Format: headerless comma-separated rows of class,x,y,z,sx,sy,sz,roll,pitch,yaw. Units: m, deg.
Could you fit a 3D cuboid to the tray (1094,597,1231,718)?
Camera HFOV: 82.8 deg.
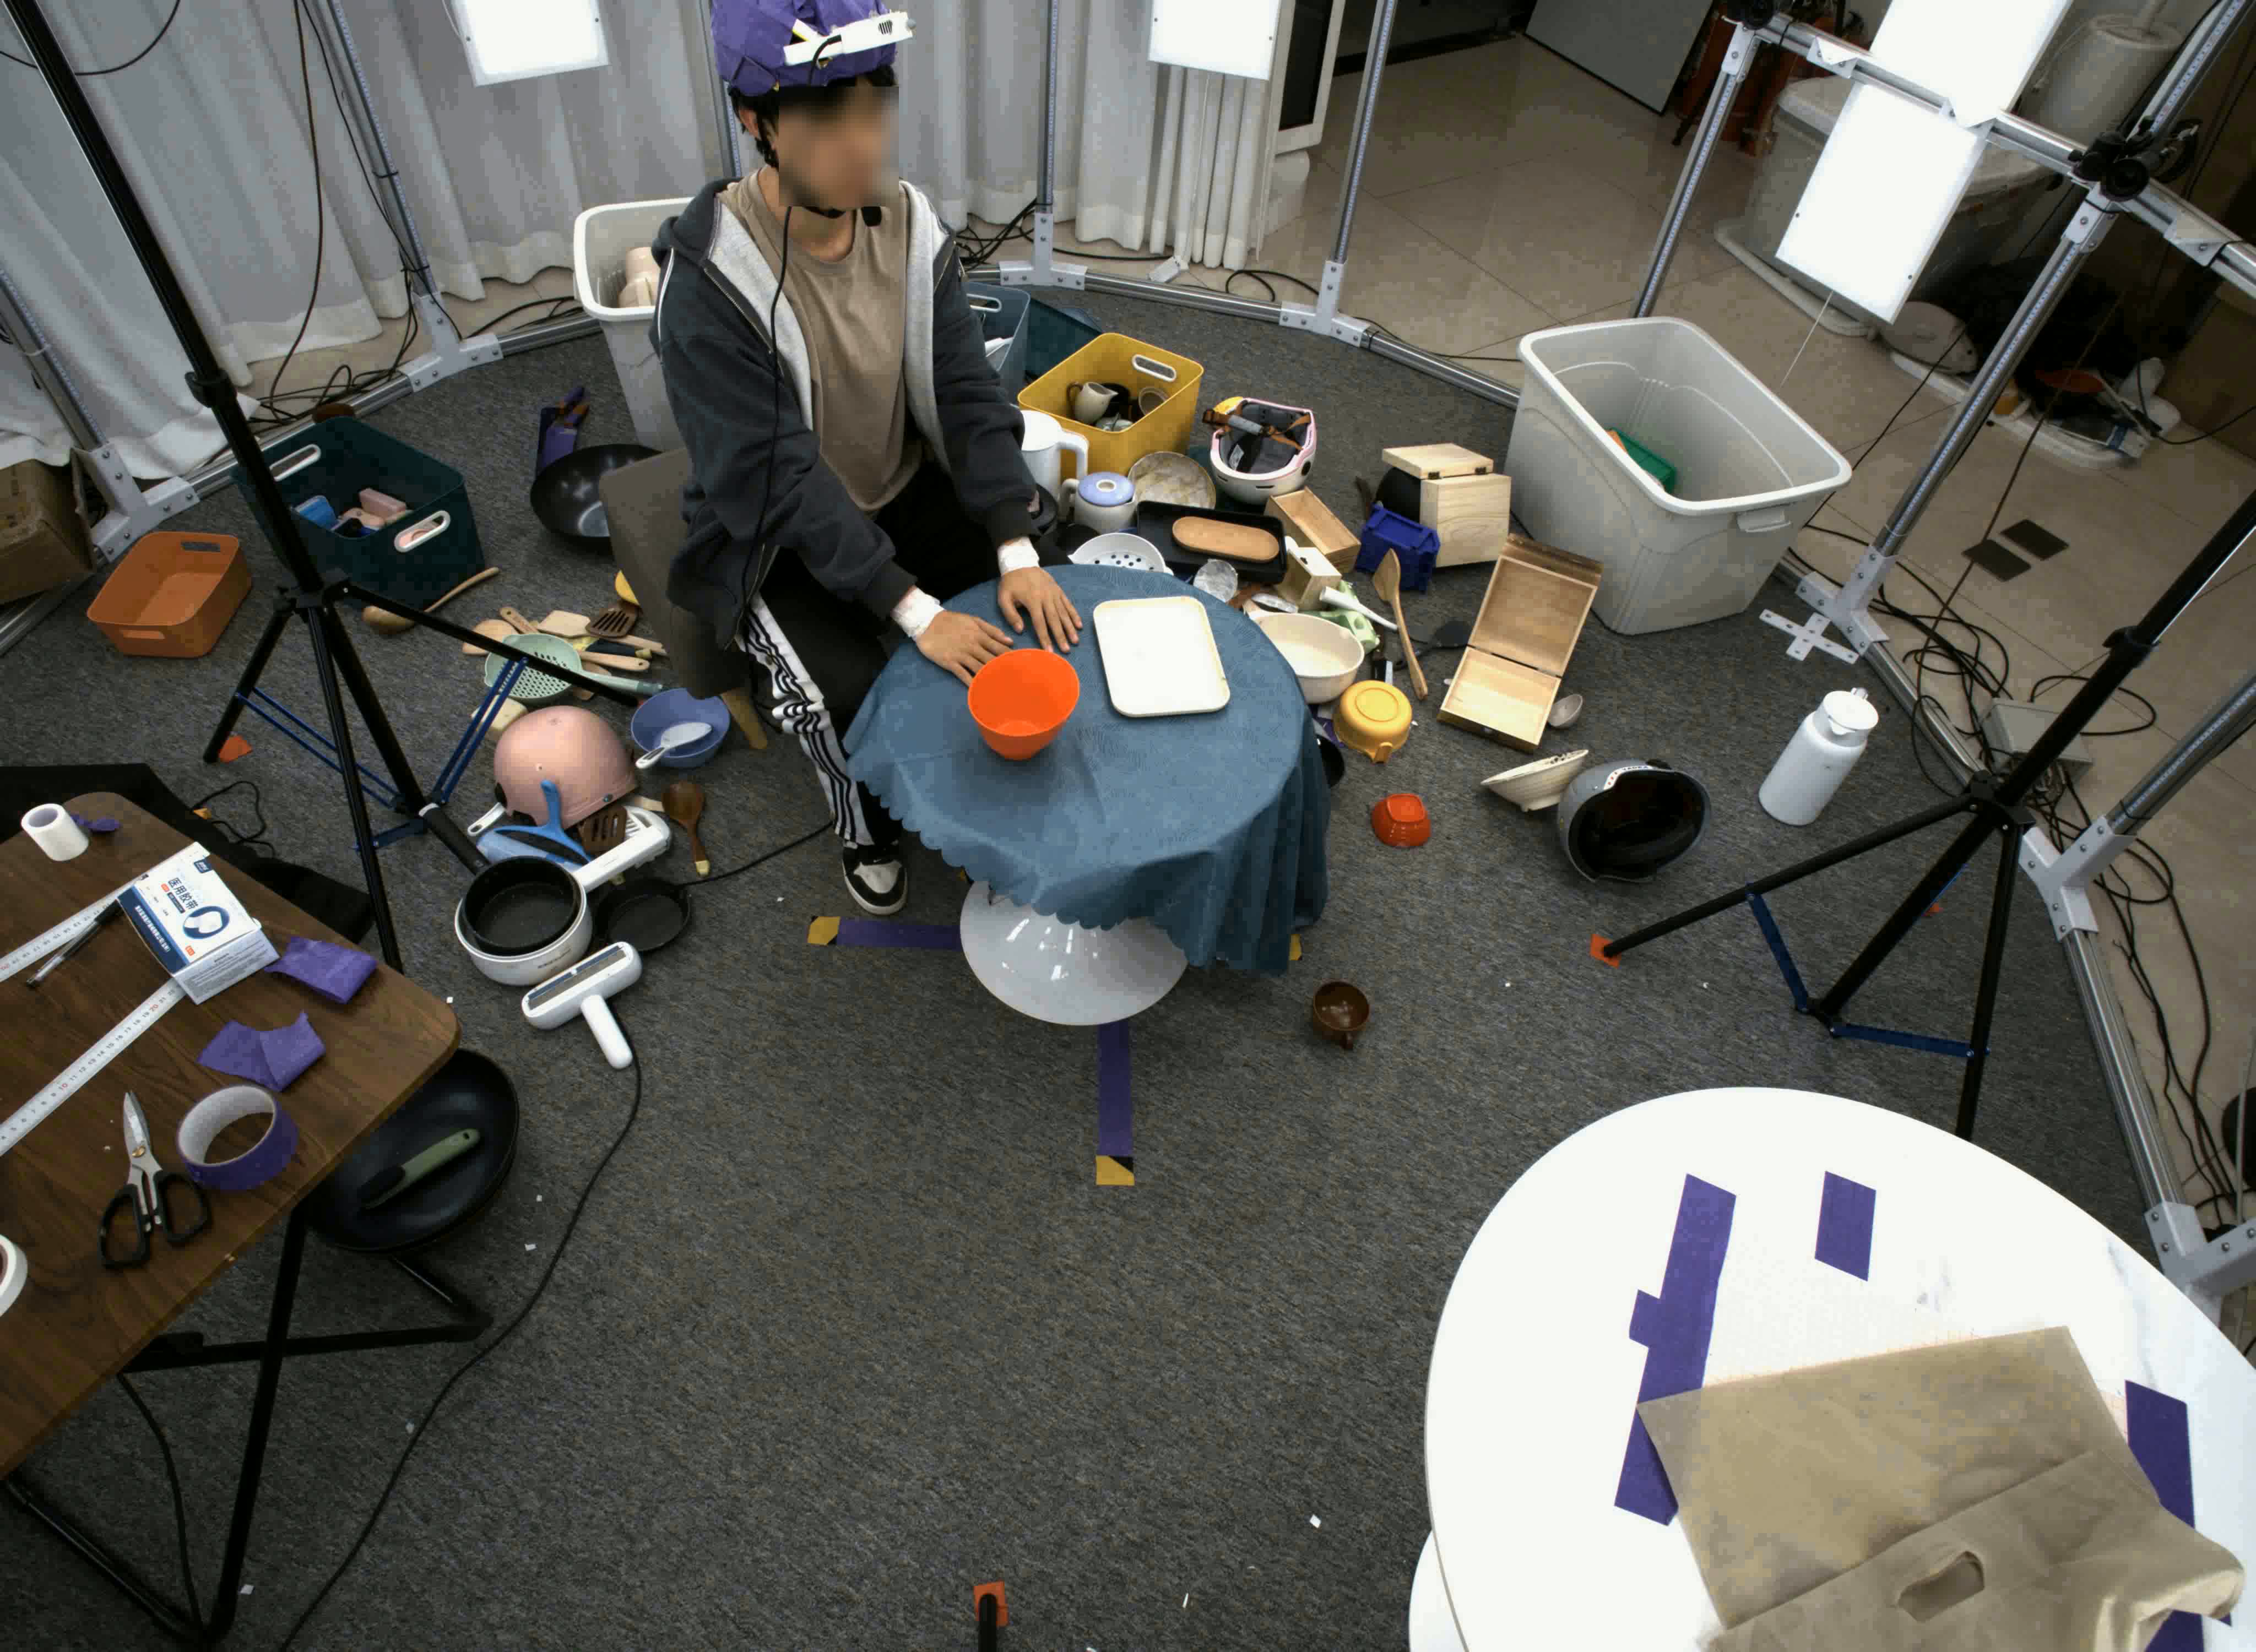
tray,0.047,-0.248,1.874,0.171,0.017,0.246,-5,50,-8

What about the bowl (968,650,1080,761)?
bowl,-0.139,-0.151,1.722,0.148,0.102,0.152,3,49,-3
